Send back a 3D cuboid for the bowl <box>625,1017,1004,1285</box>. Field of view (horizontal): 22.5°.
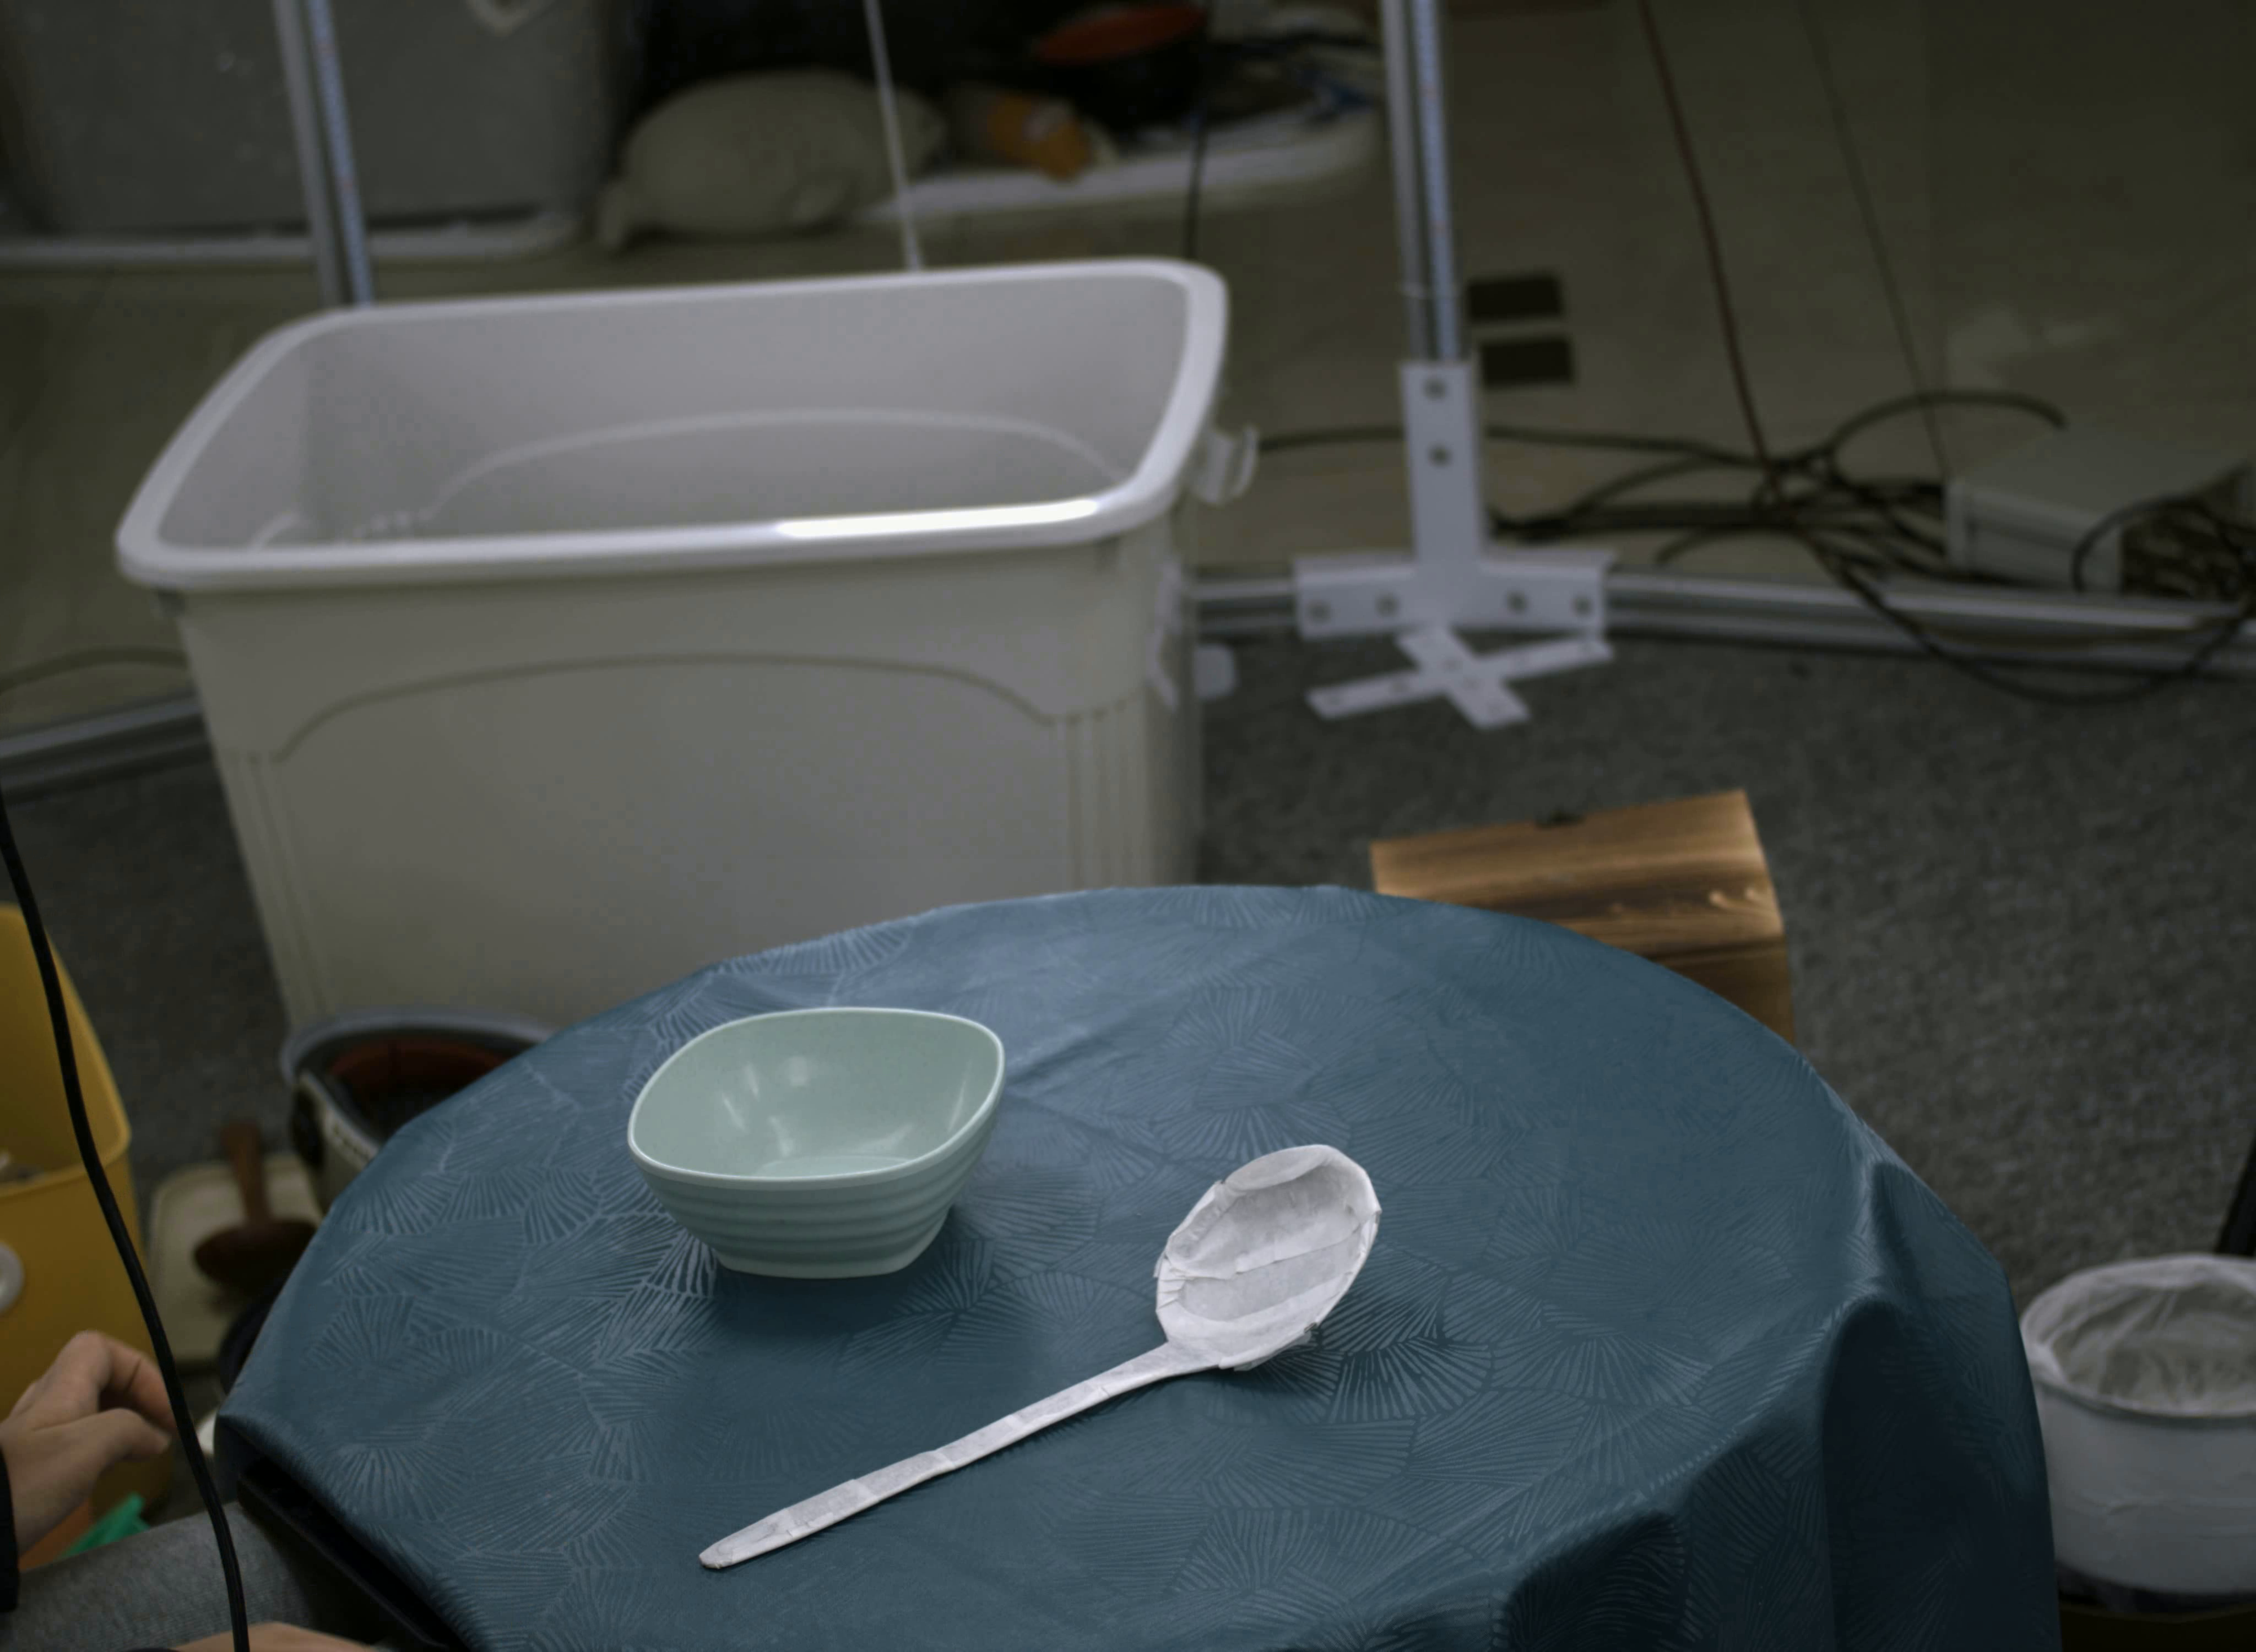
[{"bbox_3d":[-0.114,0.128,2.137,0.151,0.059,0.149,-5,25,3],"label":"bowl"}]

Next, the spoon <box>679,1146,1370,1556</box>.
[{"bbox_3d":[-0.039,0.182,1.996,0.276,0.060,0.100,-18,23,-24],"label":"spoon"}]
